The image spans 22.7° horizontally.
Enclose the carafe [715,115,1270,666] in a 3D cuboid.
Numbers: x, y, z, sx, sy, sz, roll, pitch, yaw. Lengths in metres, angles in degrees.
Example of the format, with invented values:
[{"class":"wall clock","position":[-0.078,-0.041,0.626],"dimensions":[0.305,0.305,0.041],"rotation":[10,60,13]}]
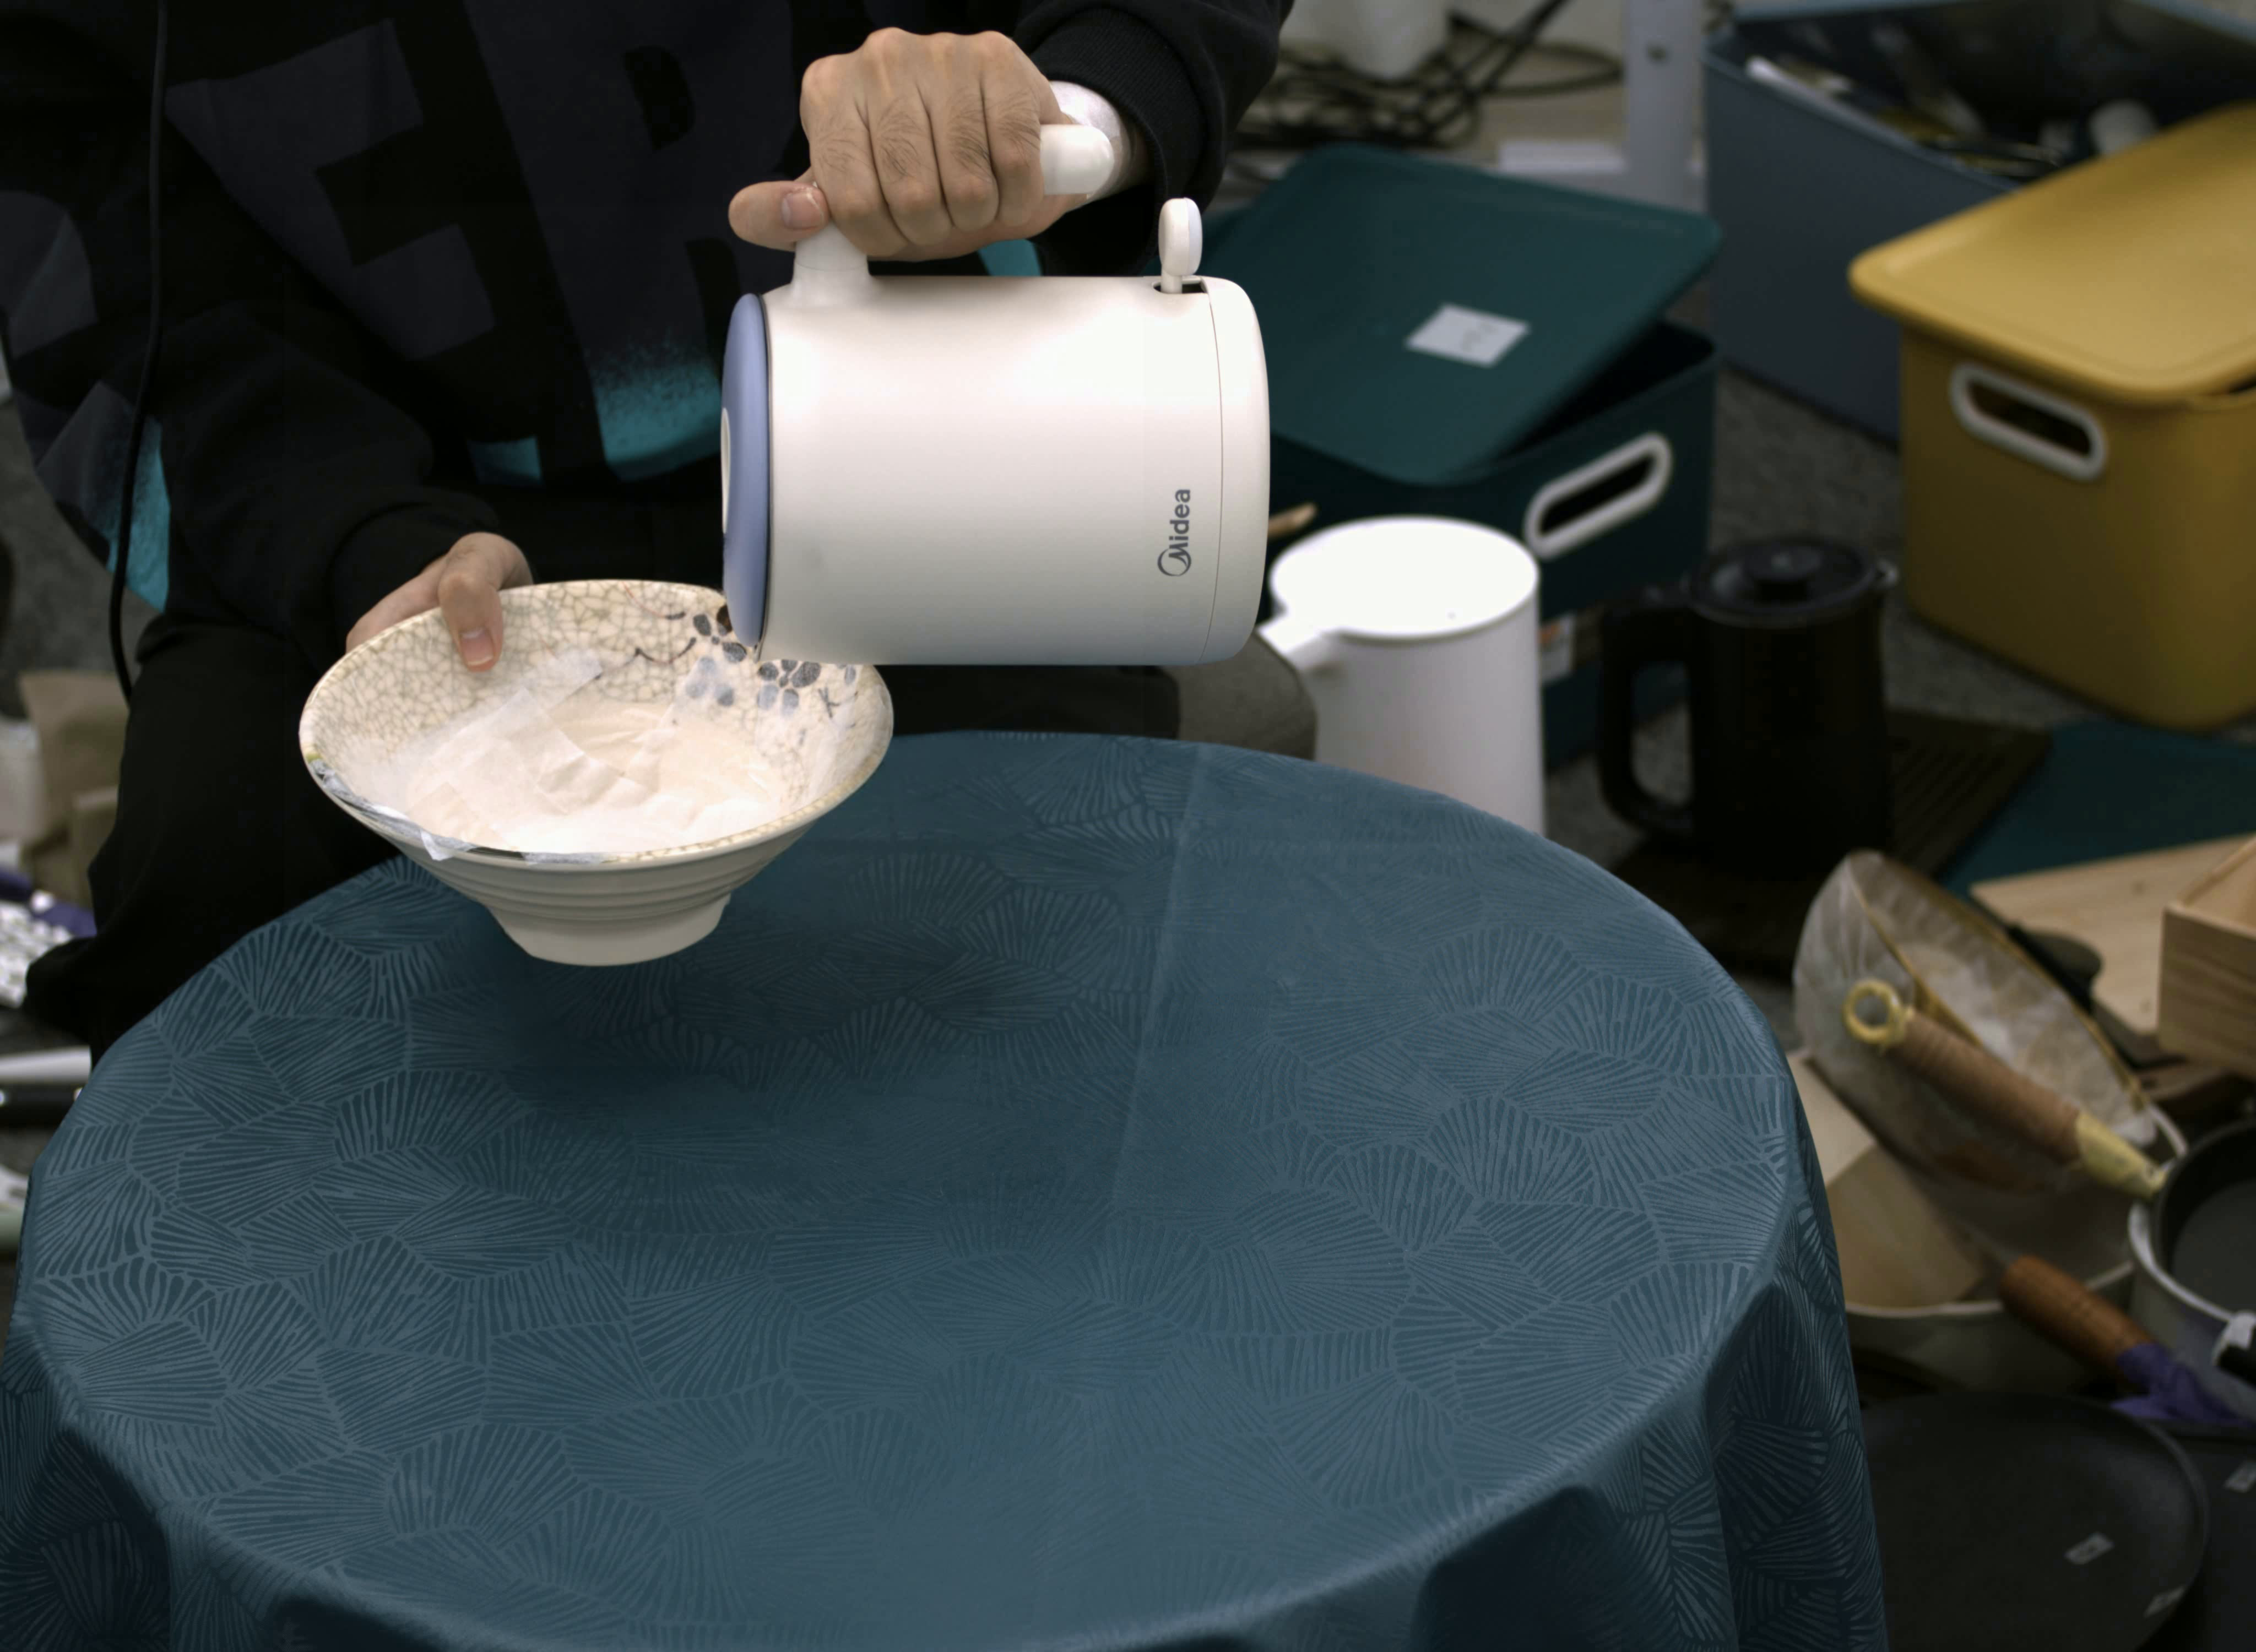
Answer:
[{"class":"carafe","position":[-0.044,-0.144,1.883],"dimensions":[0.182,0.190,0.133],"rotation":[2,18,-10]}]

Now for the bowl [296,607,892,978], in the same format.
[{"class":"bowl","position":[-0.183,-0.001,1.938],"dimensions":[0.203,0.077,0.207],"rotation":[1,25,0]}]
